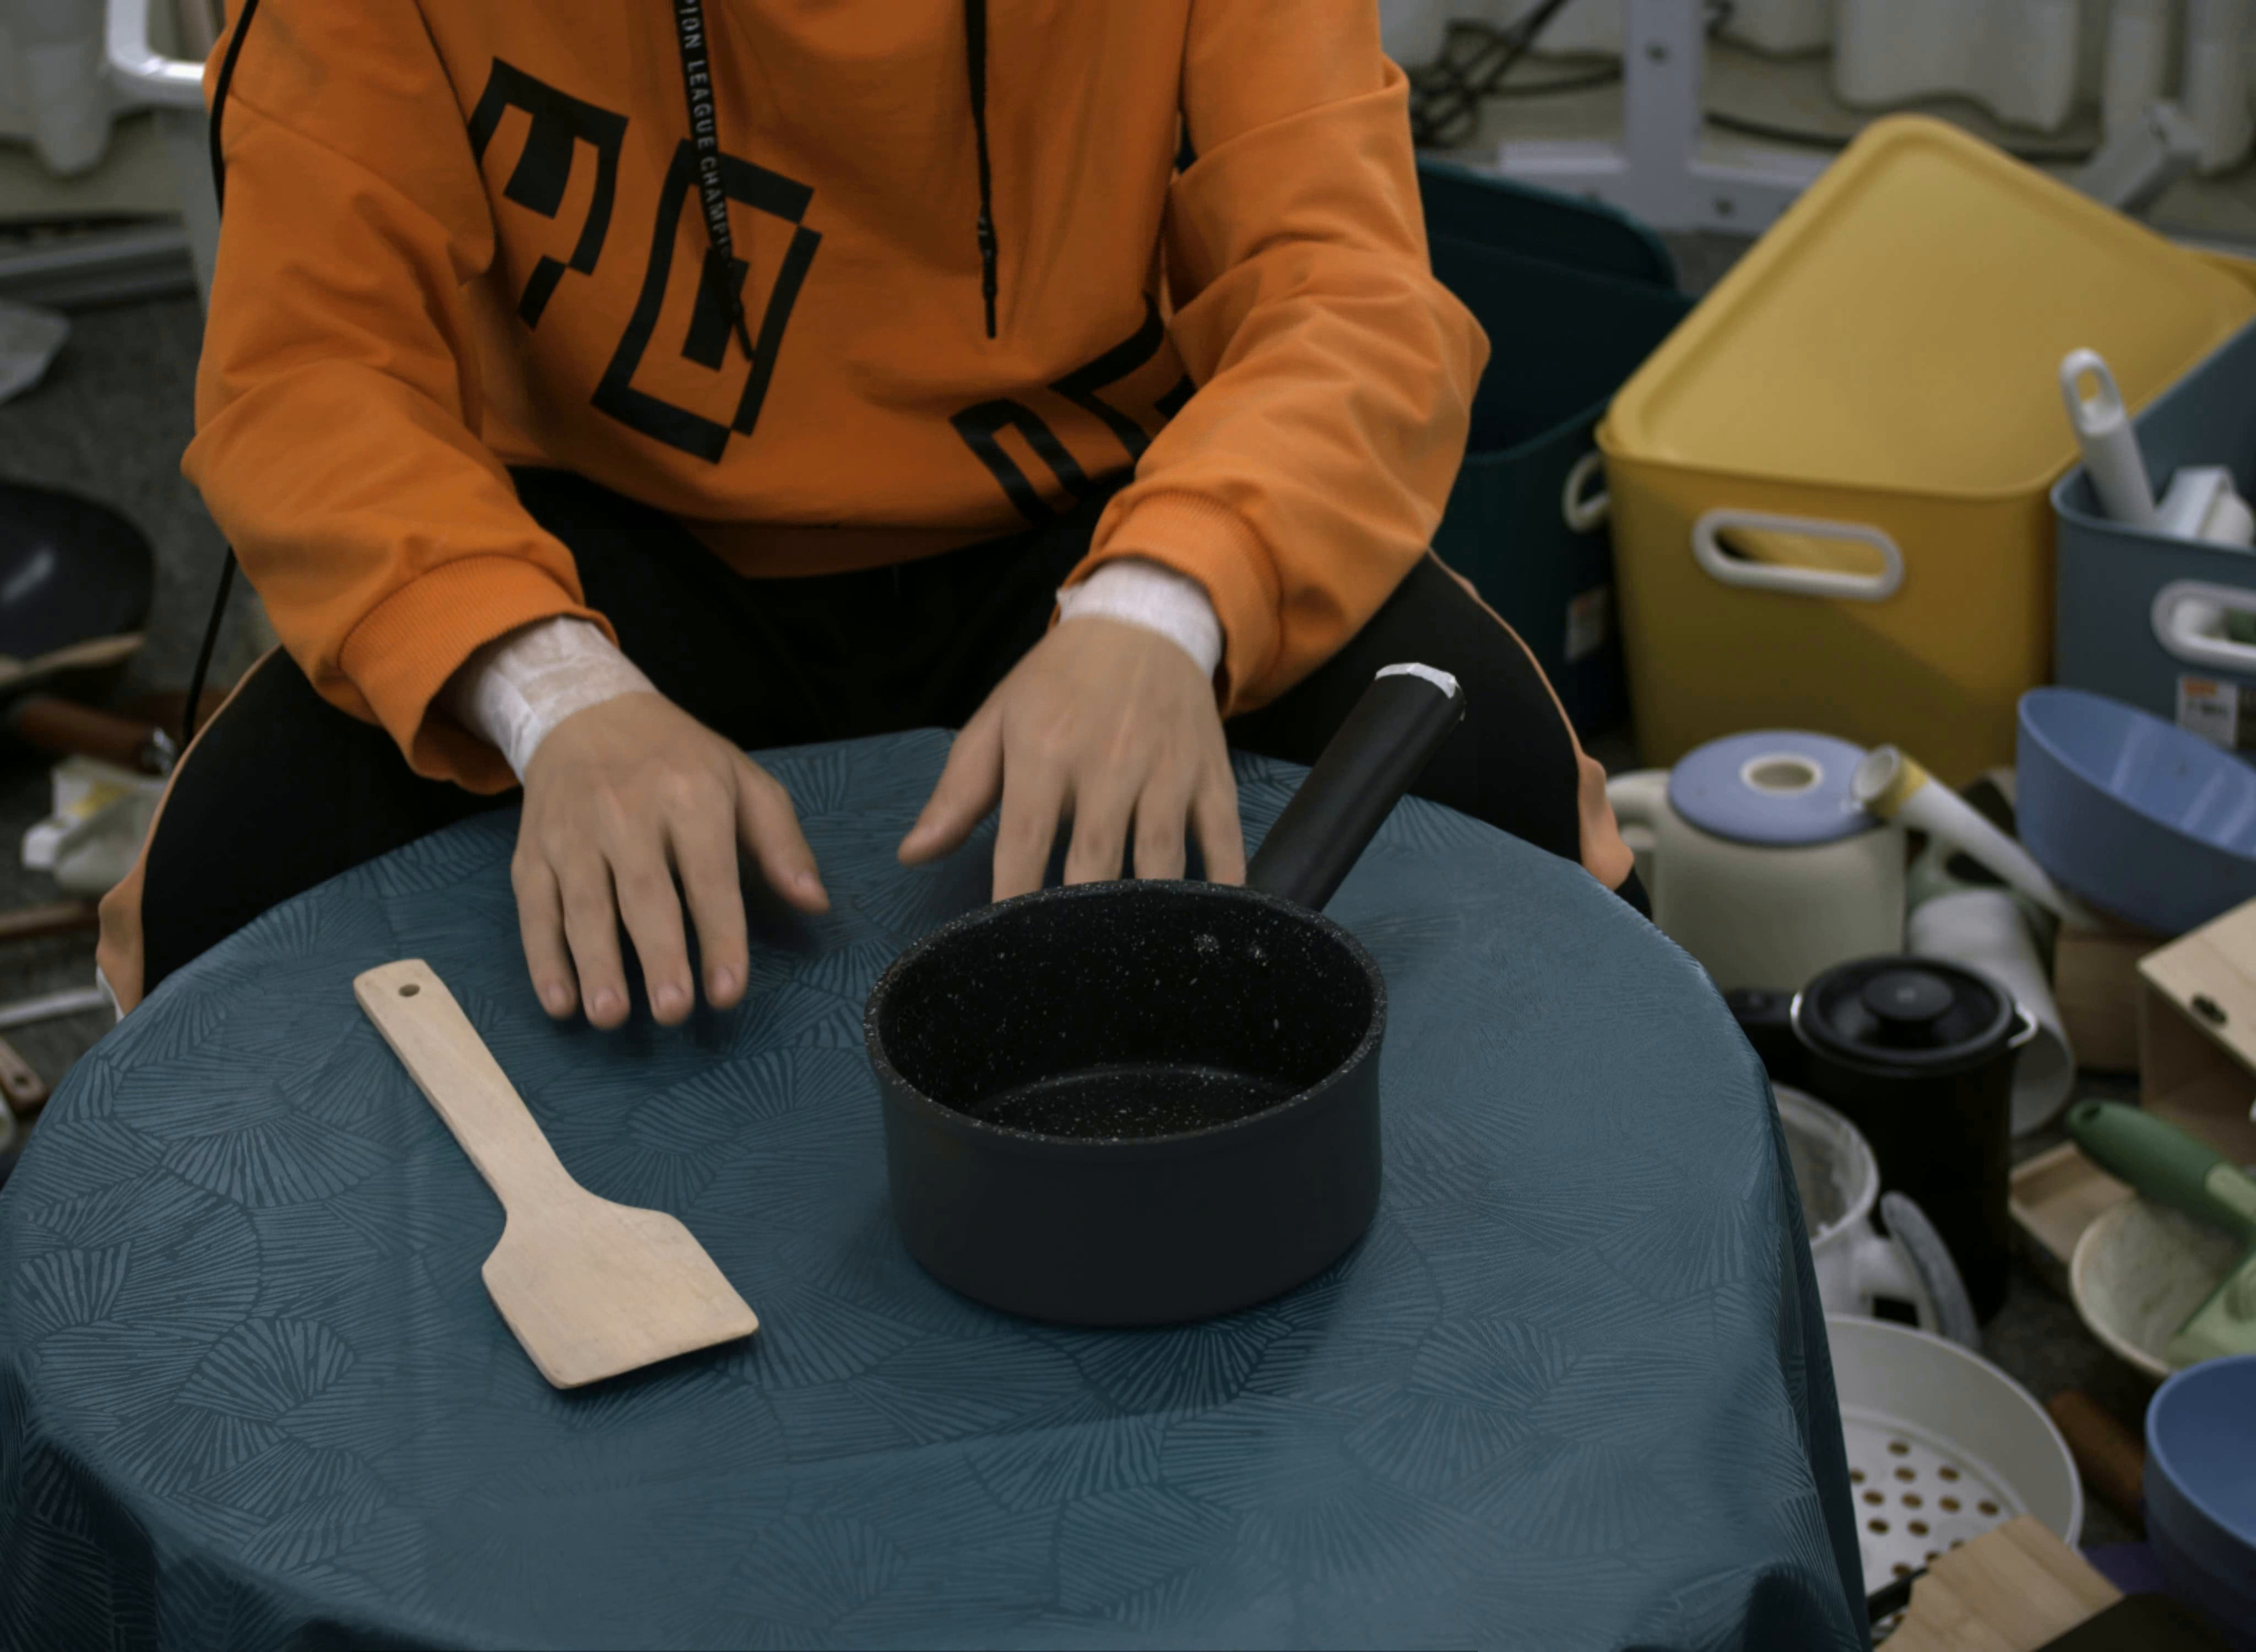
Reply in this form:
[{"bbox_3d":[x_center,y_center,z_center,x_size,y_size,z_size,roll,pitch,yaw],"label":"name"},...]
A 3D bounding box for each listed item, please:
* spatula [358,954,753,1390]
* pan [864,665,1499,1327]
[{"bbox_3d":[-0.208,0.111,1.893,0.072,0.010,0.295,-17,30,-18],"label":"spatula"},{"bbox_3d":[0.039,0.053,1.900,0.171,0.085,0.334,13,33,26],"label":"pan"}]
